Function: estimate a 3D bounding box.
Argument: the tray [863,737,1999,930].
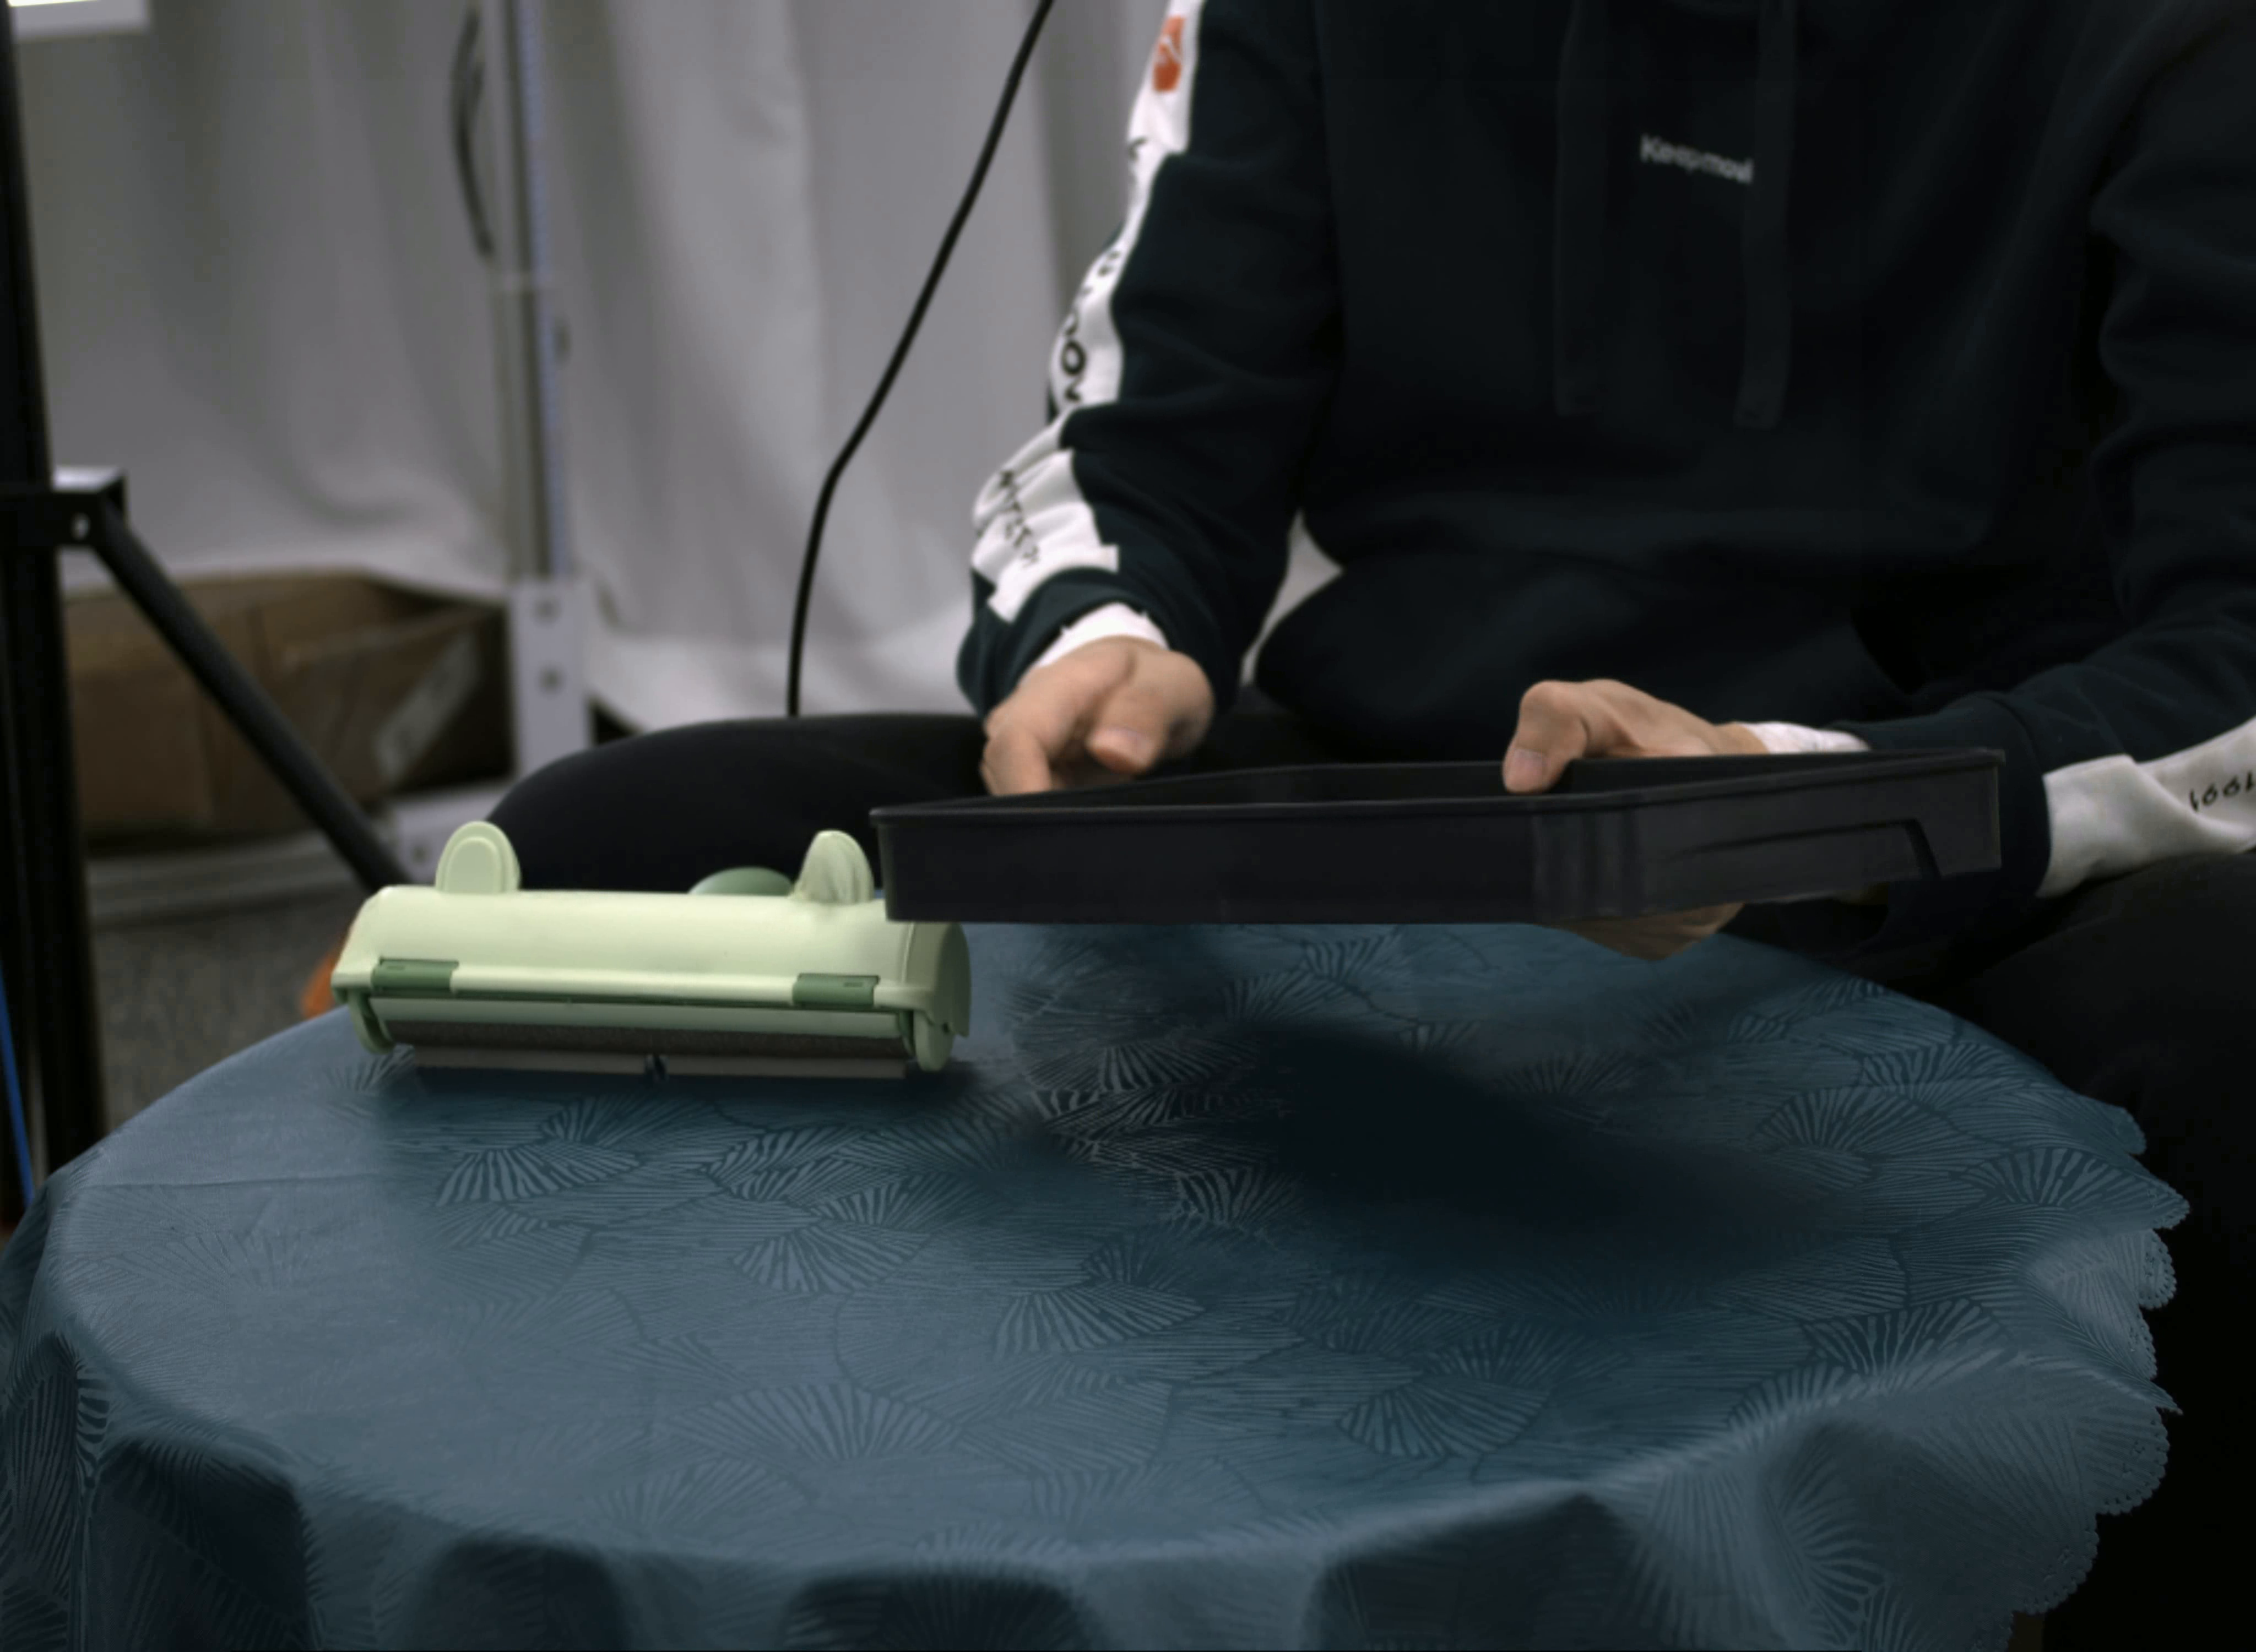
[{"bbox_3d":[0.083,0.003,1.551,0.179,0.037,0.324,-7,3,-40],"label":"tray"}]

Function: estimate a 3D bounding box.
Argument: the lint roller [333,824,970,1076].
[{"bbox_3d":[-0.139,0.024,1.733,0.200,0.082,0.182,1,19,13],"label":"lint roller"}]
